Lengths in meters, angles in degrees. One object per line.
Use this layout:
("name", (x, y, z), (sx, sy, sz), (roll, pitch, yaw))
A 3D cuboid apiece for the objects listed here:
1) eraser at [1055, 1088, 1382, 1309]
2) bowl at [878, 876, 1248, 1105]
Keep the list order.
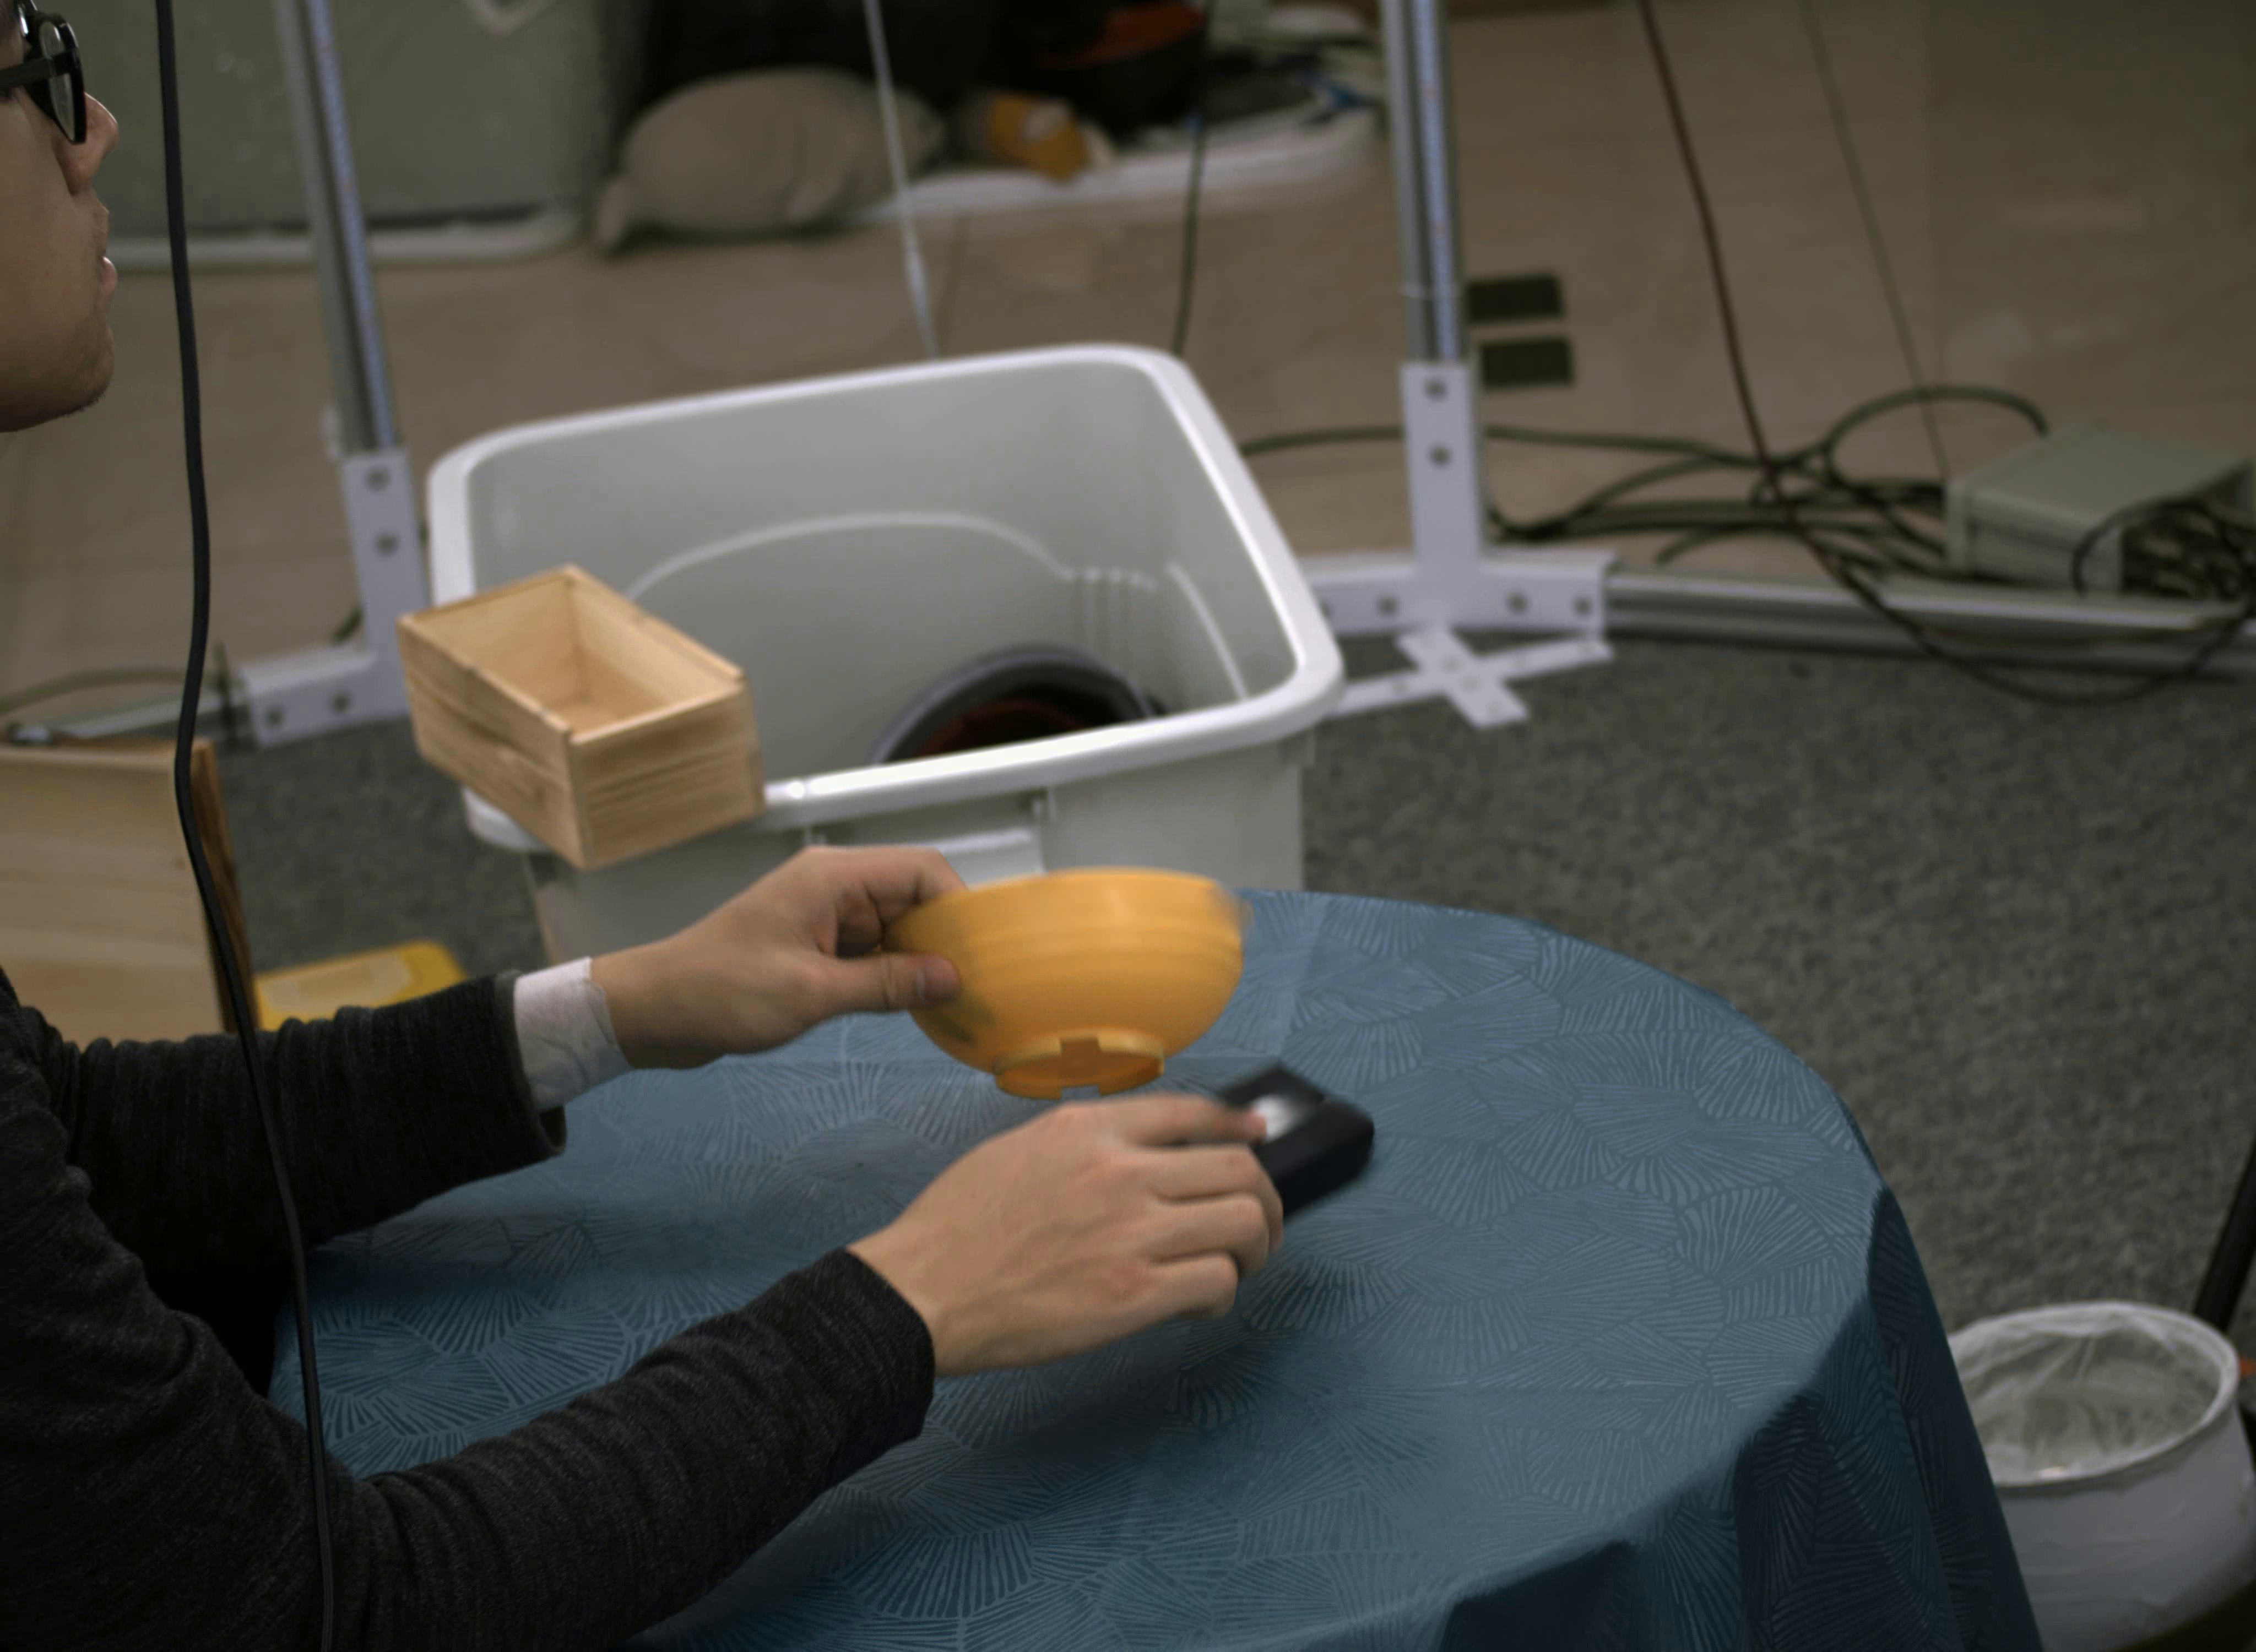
("eraser", (0.033, 0.132, 2.027), (0.053, 0.031, 0.124), (26, 33, 33))
("bowl", (-0.022, 0.070, 2.163), (0.145, 0.059, 0.147), (-5, -18, -1))
